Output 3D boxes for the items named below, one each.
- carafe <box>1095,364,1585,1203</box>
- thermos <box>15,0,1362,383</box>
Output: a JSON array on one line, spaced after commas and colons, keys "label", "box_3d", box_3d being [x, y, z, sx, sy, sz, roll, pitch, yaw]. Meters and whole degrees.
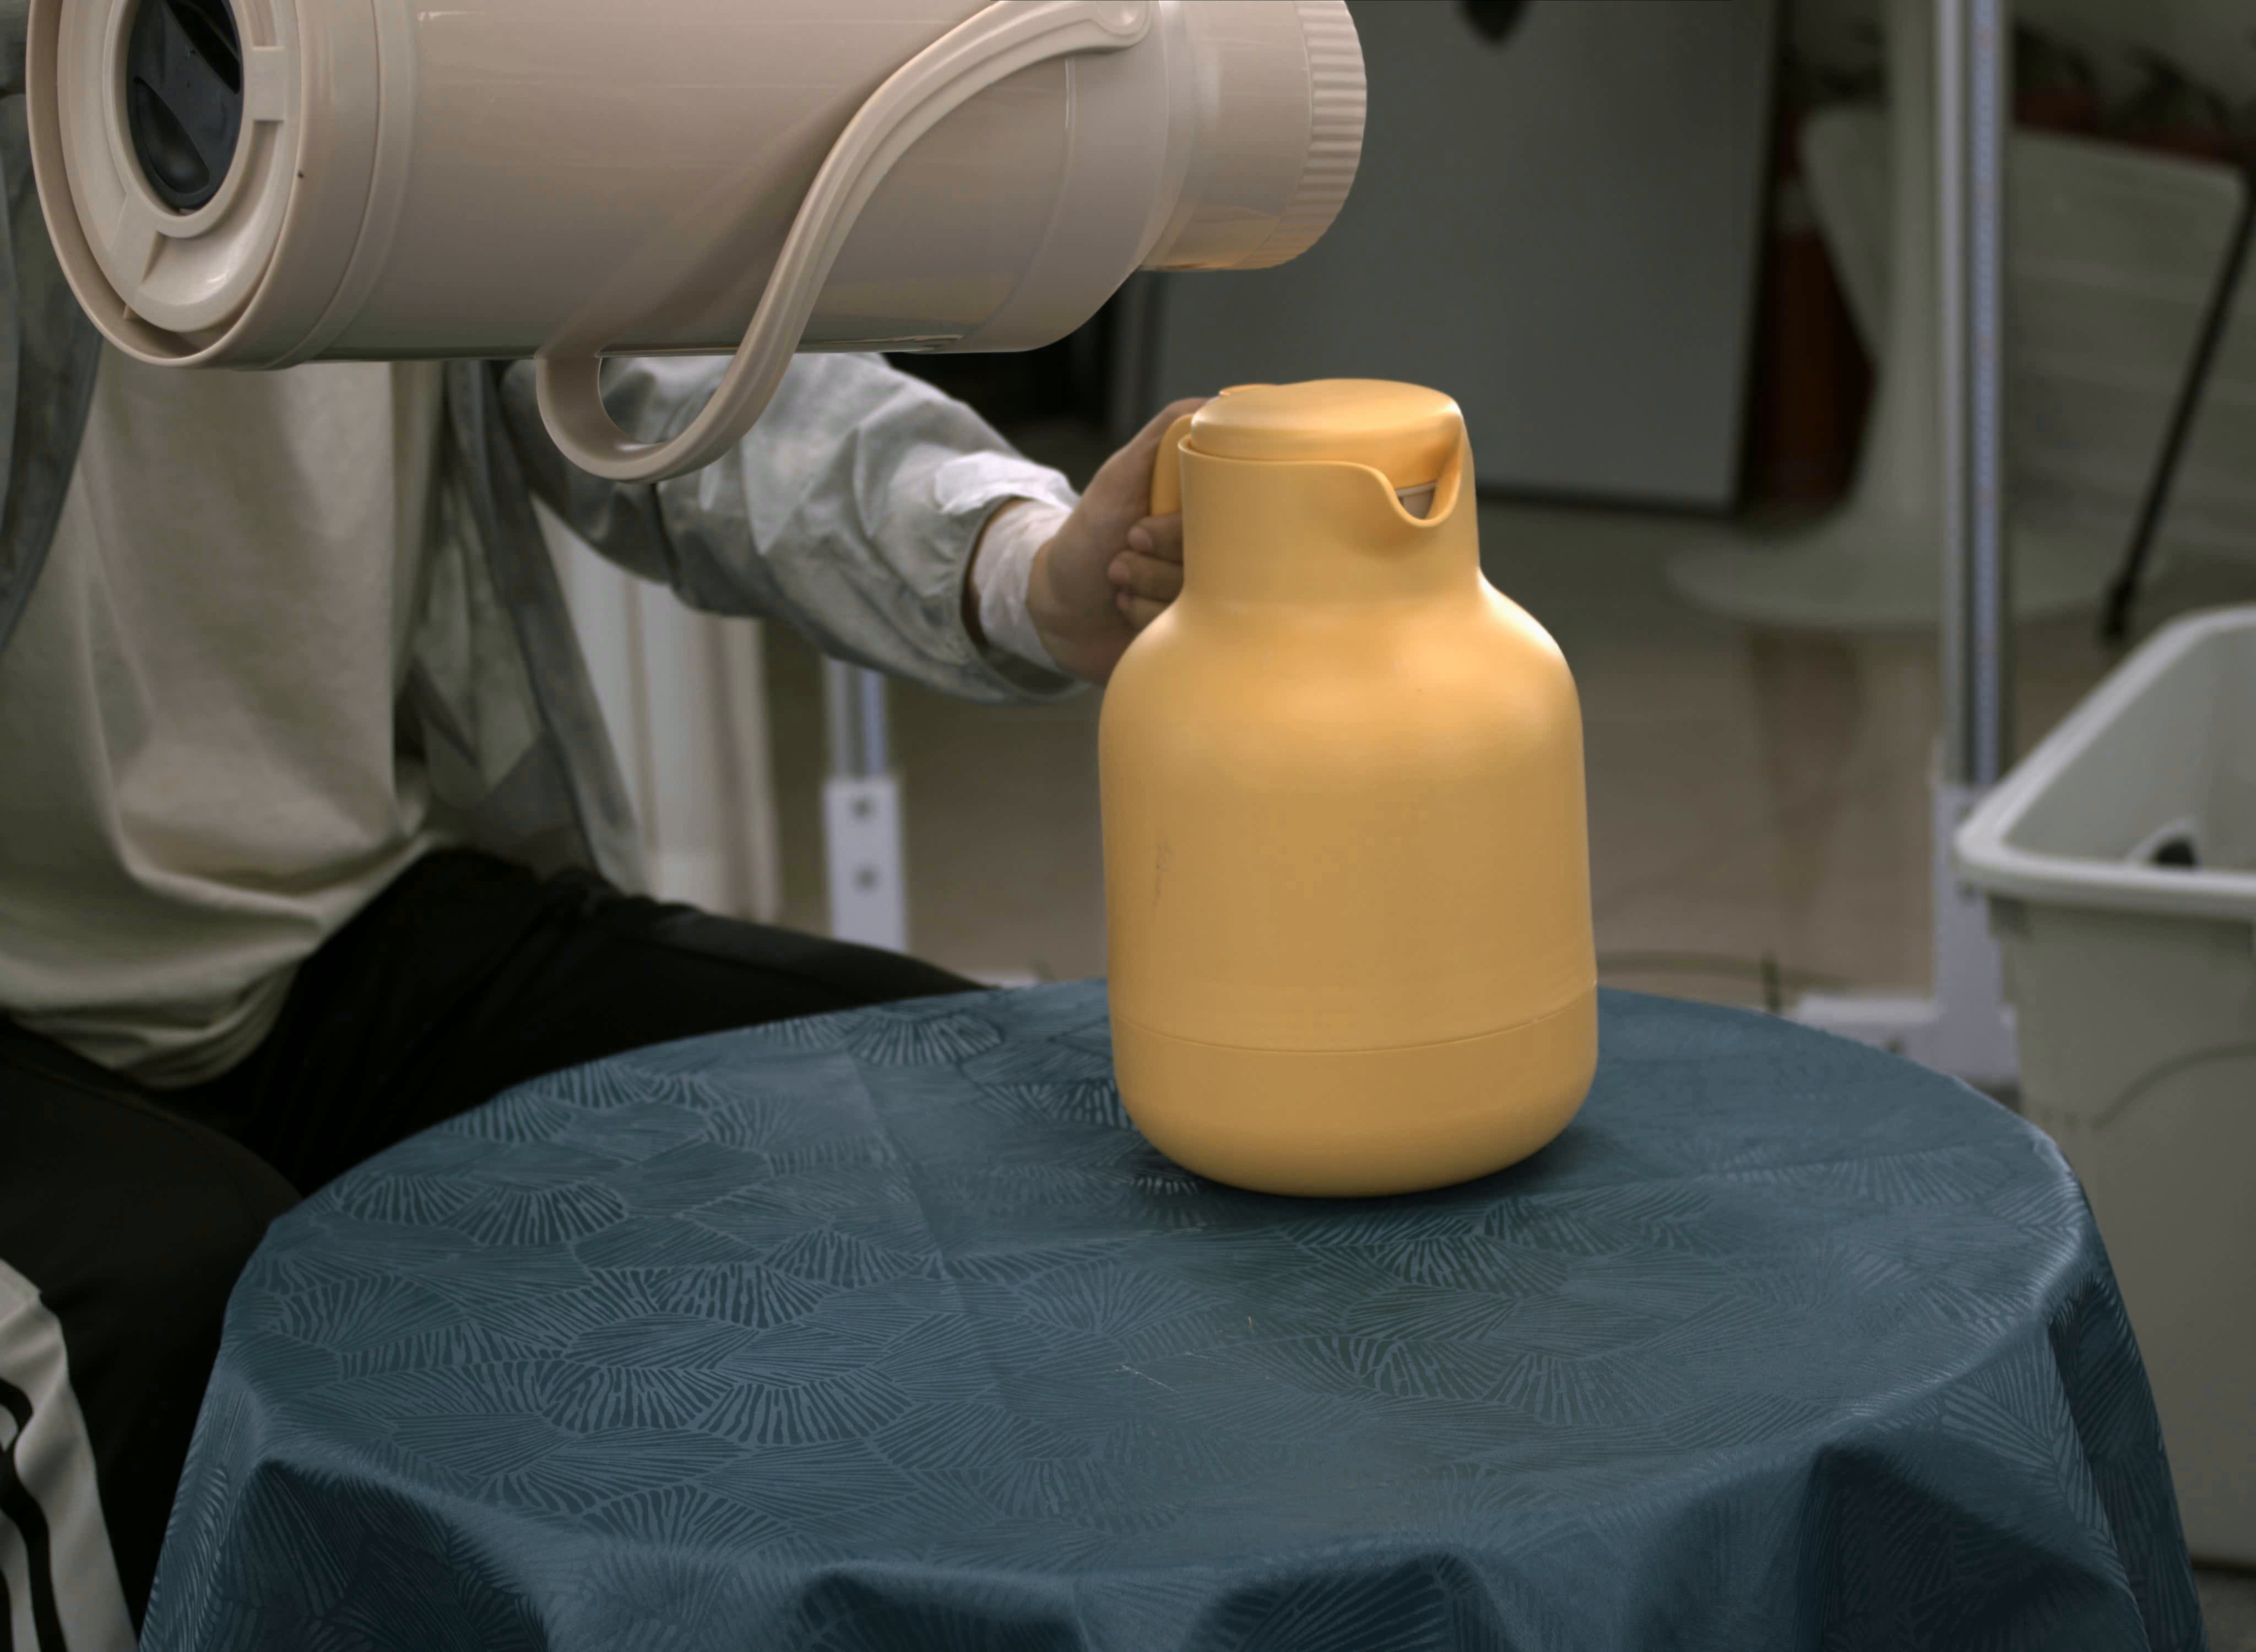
[{"label": "carafe", "box_3d": [0.063, -0.022, 1.788, 0.160, 0.263, 0.204, -6, 14, -20]}, {"label": "thermos", "box_3d": [-0.118, -0.235, 1.607, 0.397, 0.210, 0.177, -5, -11, -36]}]
